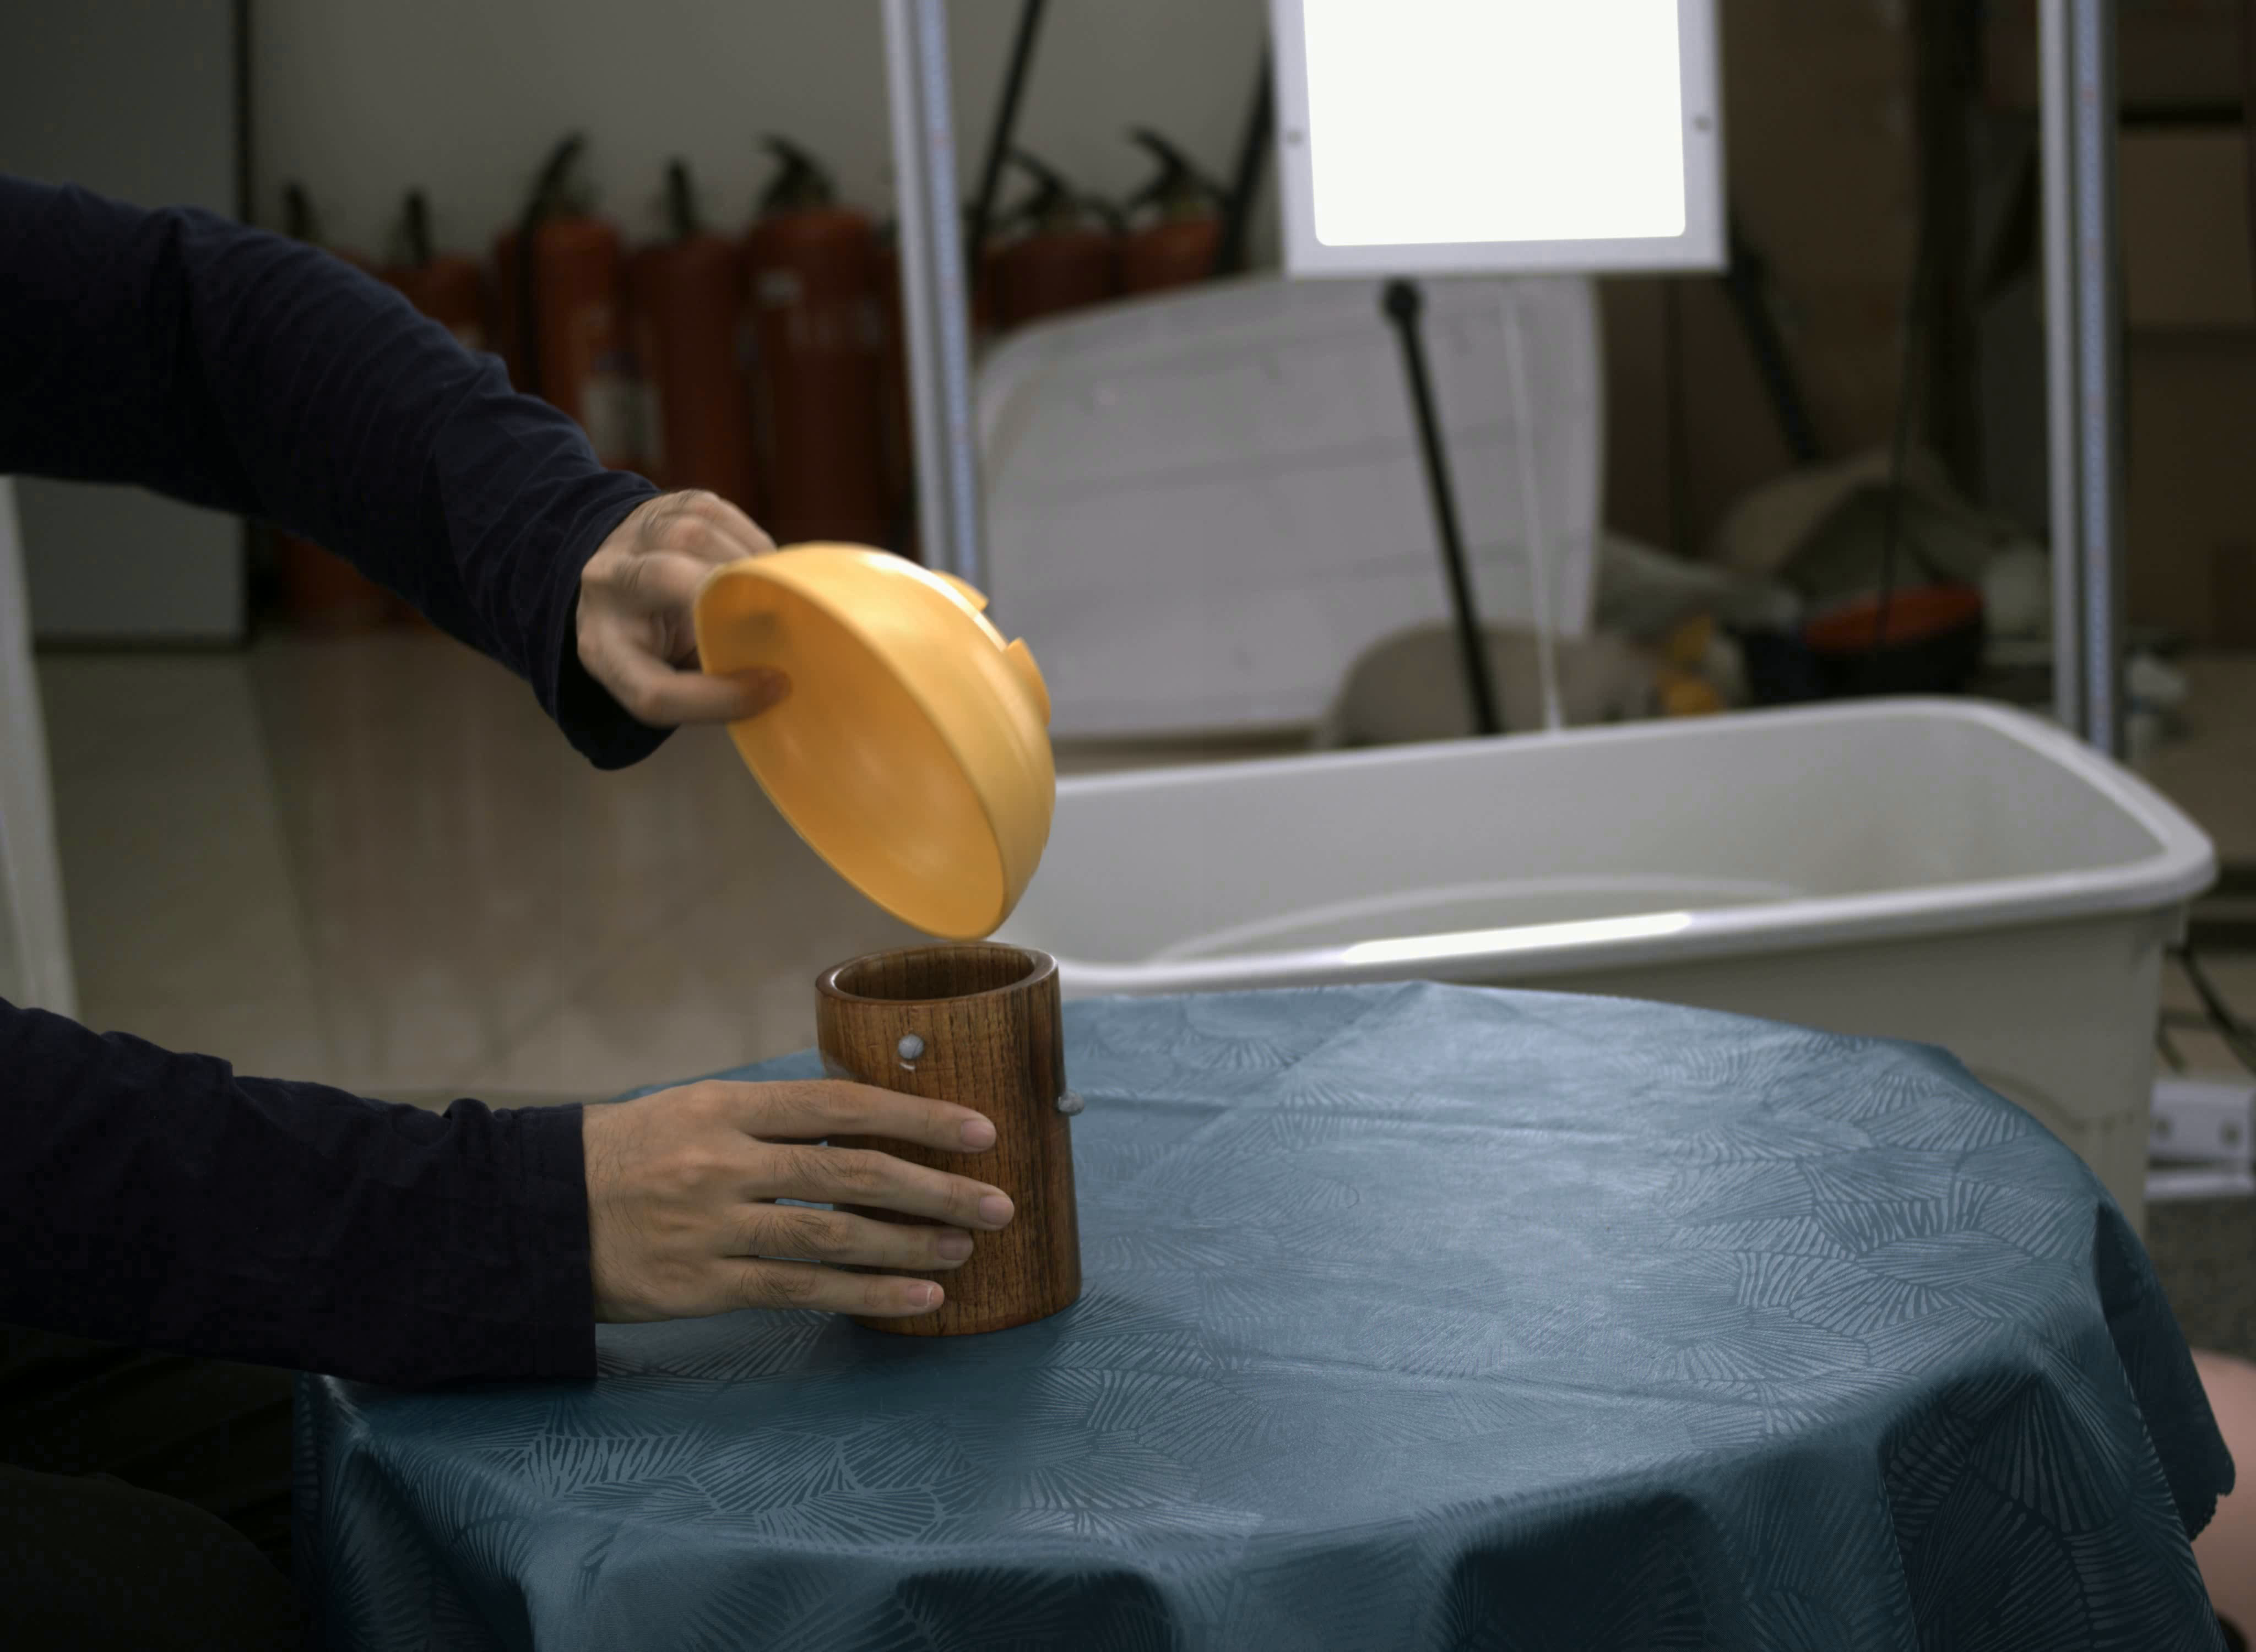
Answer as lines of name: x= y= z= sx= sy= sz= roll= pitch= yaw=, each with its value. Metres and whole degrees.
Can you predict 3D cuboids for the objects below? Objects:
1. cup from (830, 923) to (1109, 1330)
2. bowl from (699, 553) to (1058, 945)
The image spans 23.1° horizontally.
cup: x=-0.050 y=0.097 z=1.790 sx=0.087 sy=0.119 sz=0.087 roll=-4 pitch=10 yaw=-1
bowl: x=-0.067 y=-0.036 z=1.755 sx=0.059 sy=0.144 sz=0.148 roll=-40 pitch=28 yaw=-20
